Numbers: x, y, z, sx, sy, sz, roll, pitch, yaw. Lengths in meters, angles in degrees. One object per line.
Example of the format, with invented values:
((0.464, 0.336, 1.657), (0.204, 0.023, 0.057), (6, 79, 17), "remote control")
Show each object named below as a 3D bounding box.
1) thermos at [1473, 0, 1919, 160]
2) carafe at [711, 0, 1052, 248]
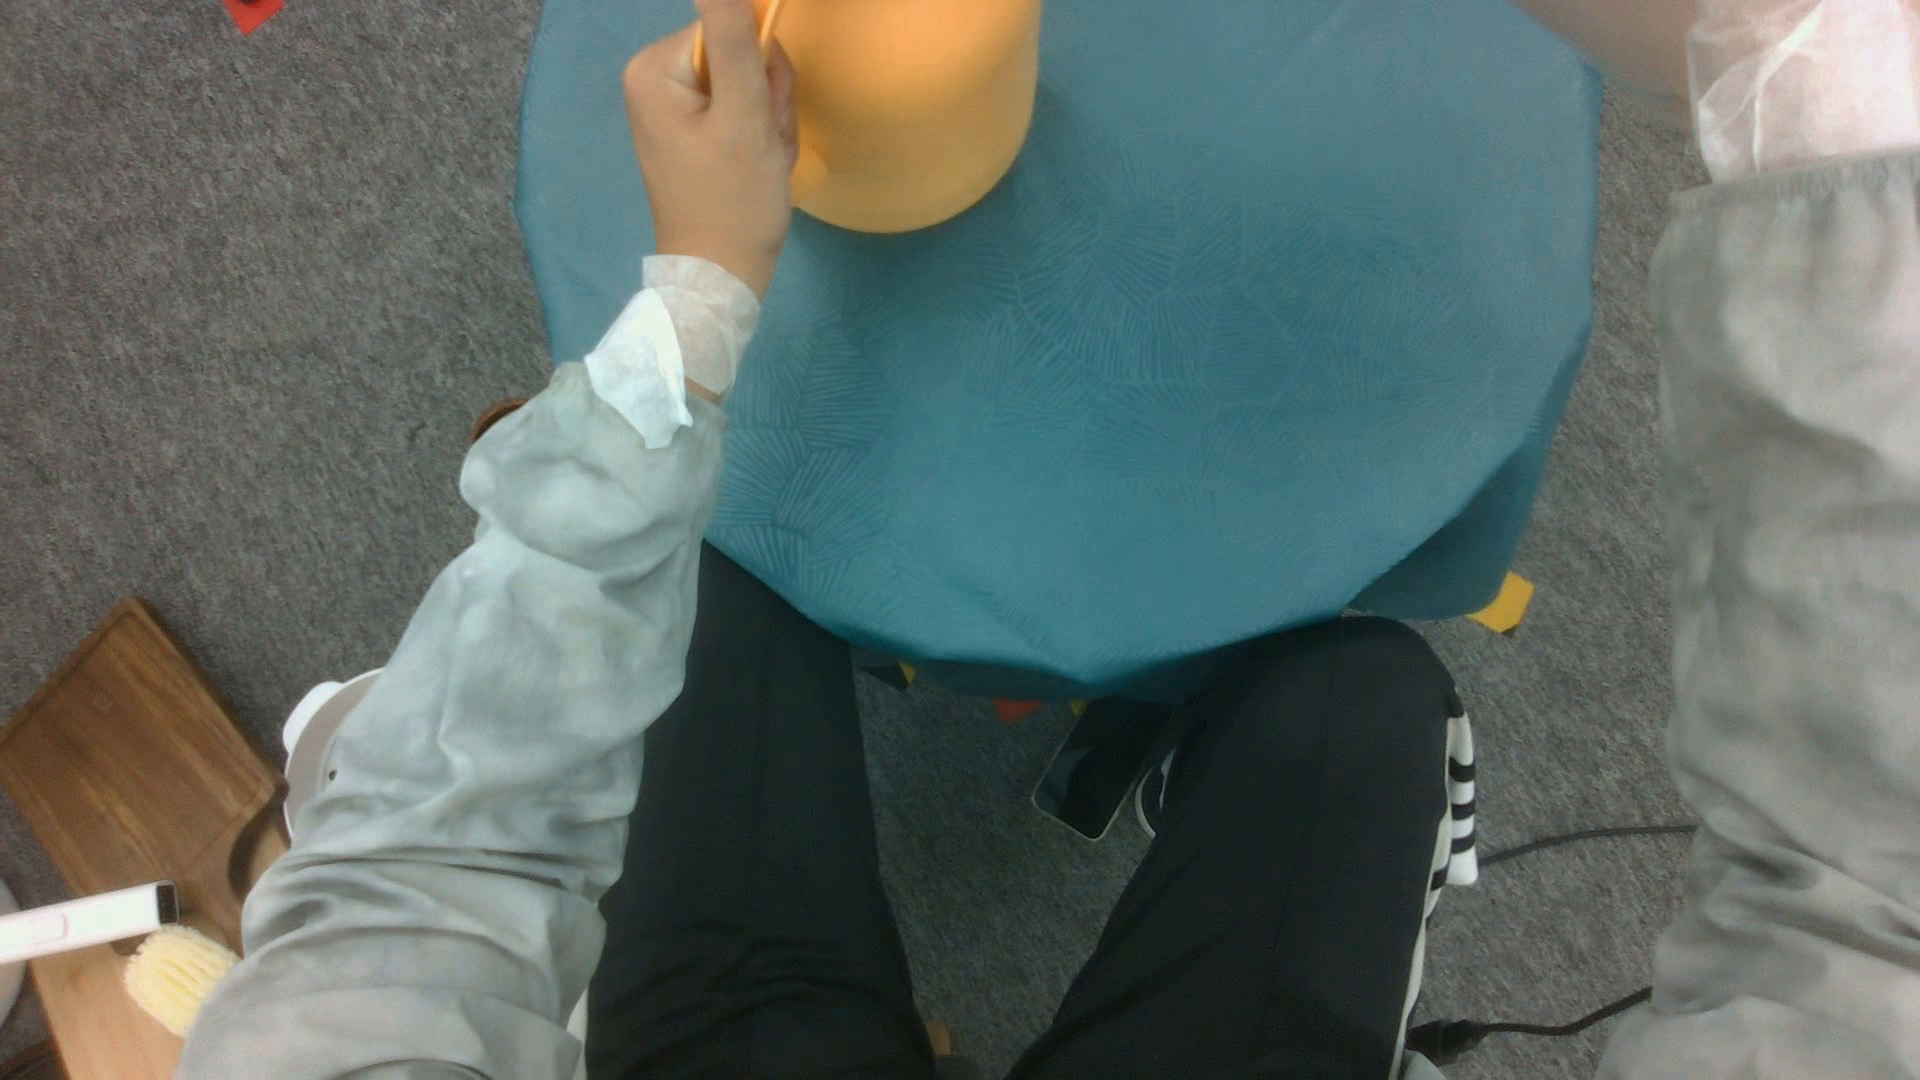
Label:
((0.204, -0.252, 0.443), (0.174, 0.407, 0.207), (-62, 39, 22), "thermos")
((-0.047, -0.242, 0.653), (0.163, 0.260, 0.203), (27, 79, 8), "carafe")
